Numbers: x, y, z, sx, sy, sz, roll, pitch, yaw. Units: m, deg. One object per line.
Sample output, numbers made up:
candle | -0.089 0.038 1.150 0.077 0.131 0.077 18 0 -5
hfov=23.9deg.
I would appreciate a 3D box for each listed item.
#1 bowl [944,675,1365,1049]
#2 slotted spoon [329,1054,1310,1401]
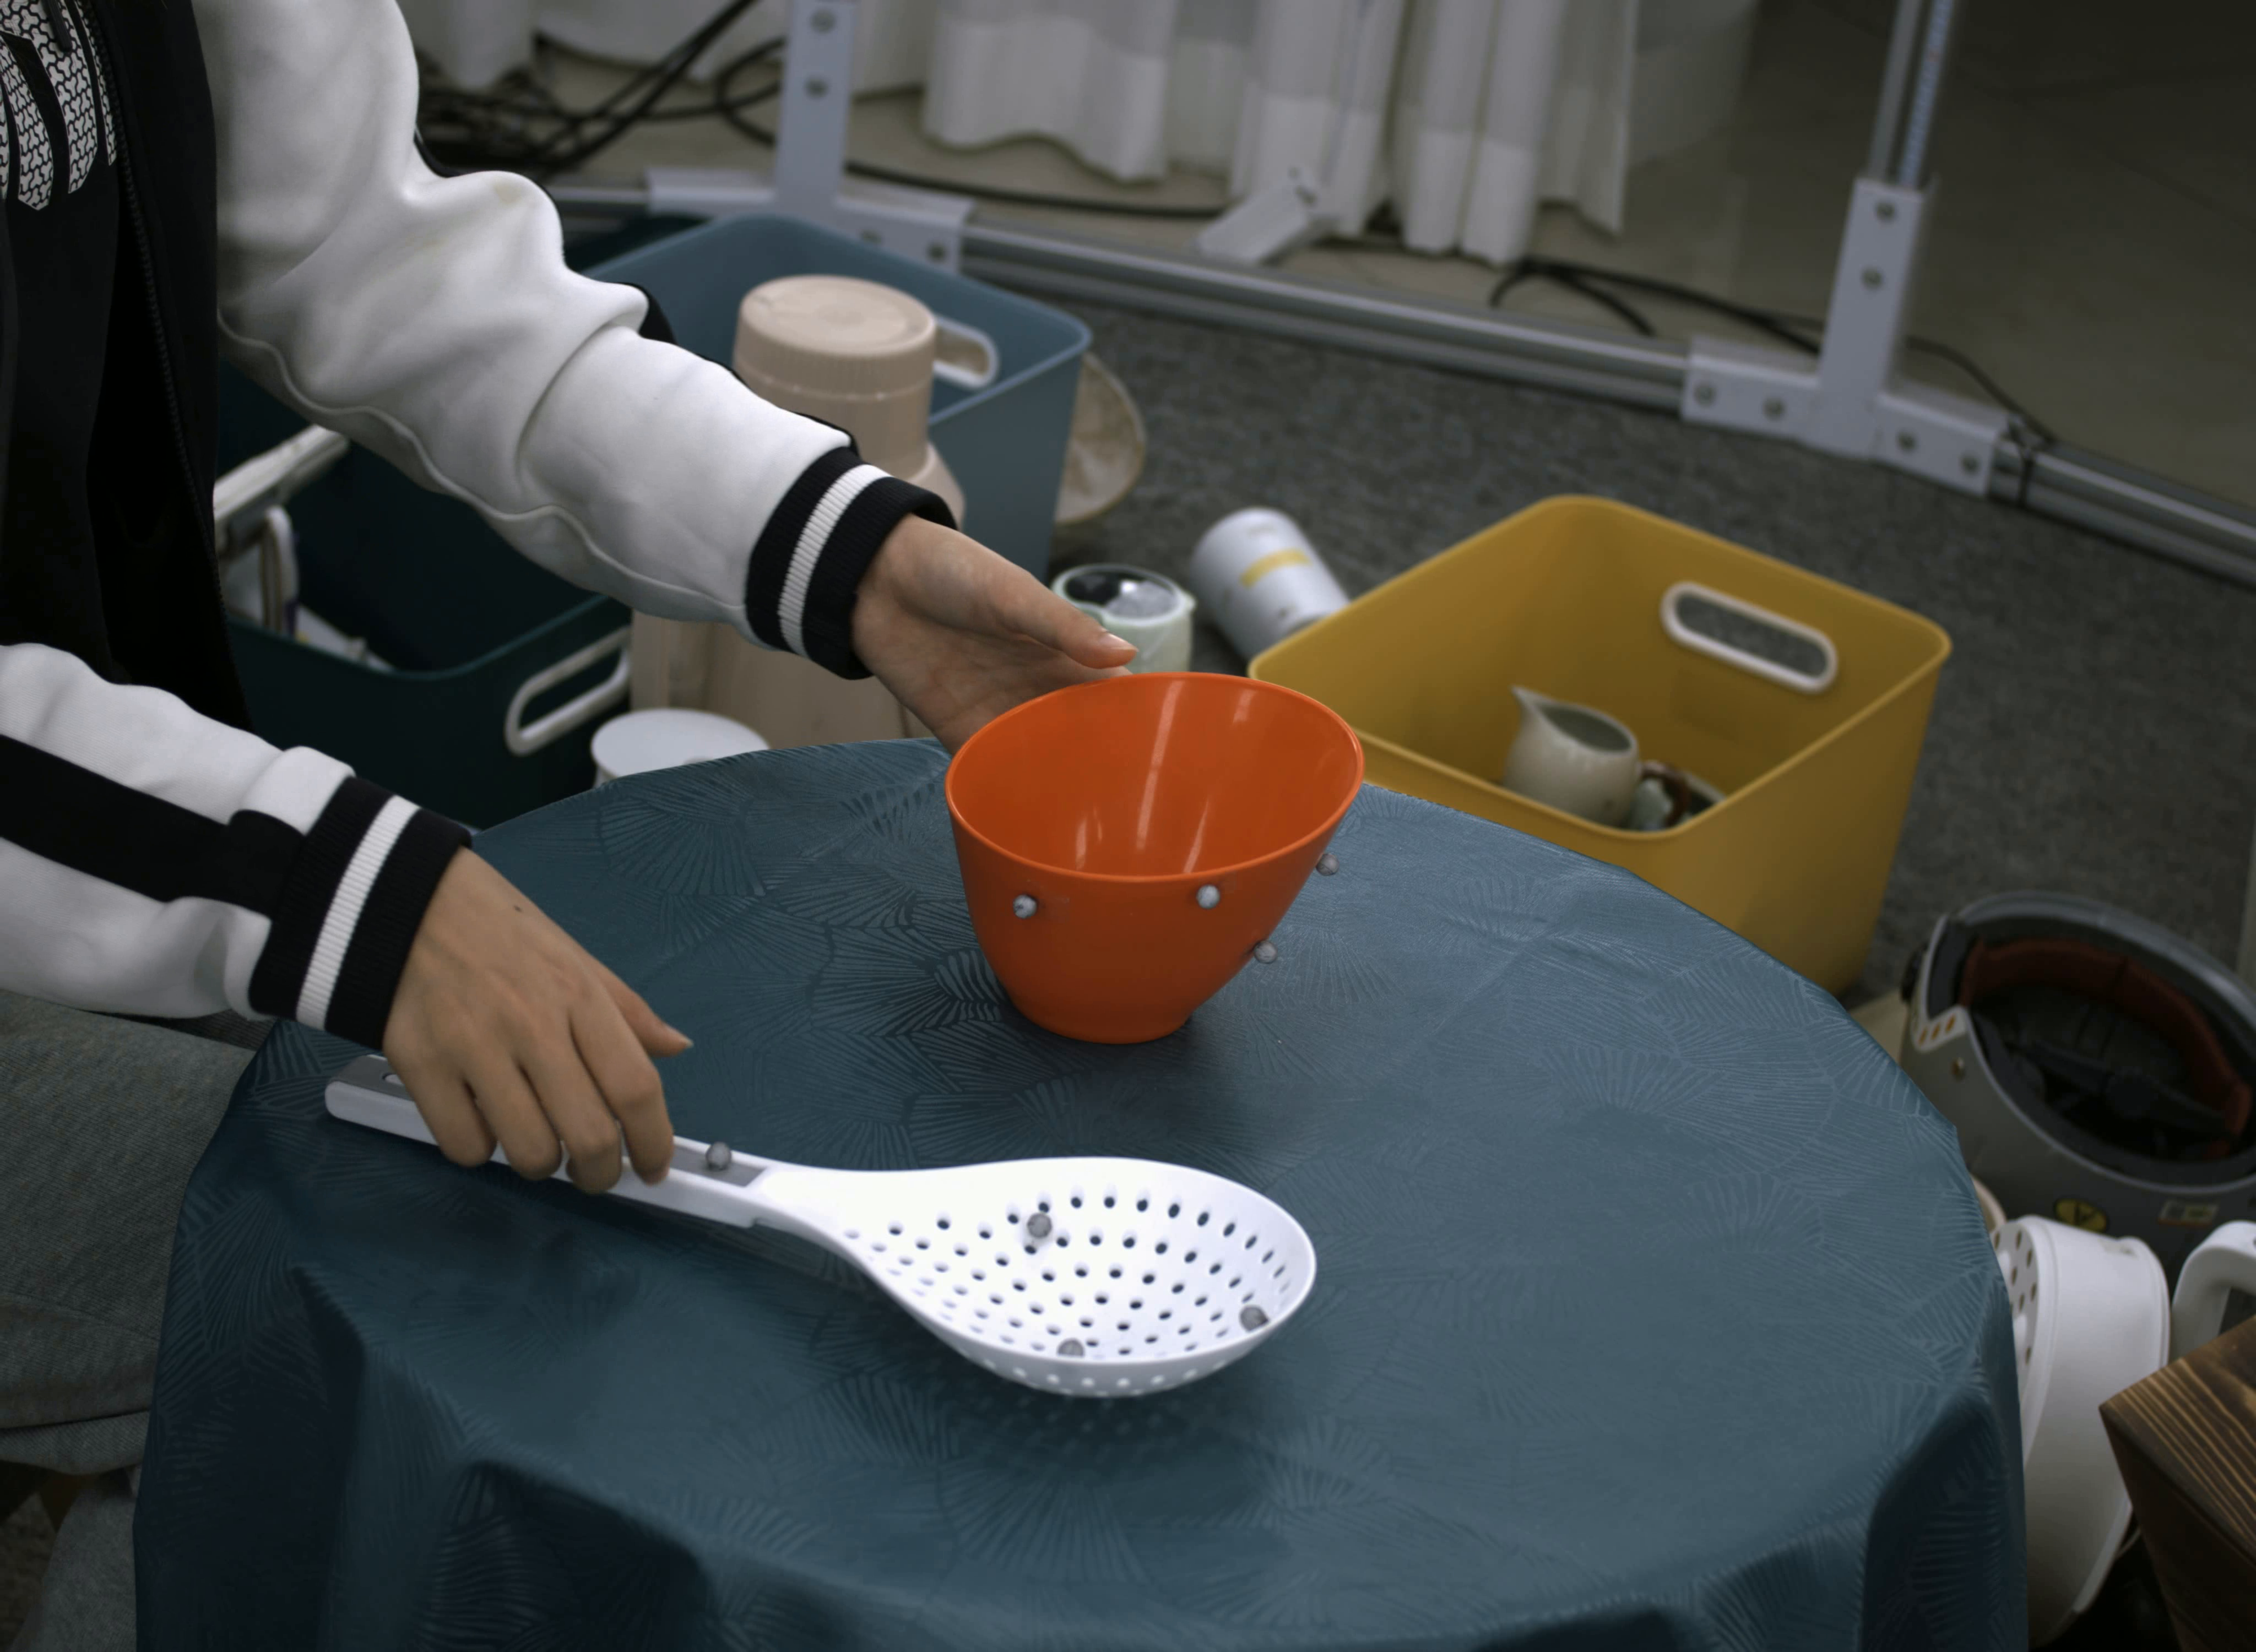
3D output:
bowl | 0.006 0.018 1.900 0.147 0.104 0.149 4 28 -3
slotted spoon | -0.107 0.123 1.731 0.351 0.045 0.136 17 27 21
